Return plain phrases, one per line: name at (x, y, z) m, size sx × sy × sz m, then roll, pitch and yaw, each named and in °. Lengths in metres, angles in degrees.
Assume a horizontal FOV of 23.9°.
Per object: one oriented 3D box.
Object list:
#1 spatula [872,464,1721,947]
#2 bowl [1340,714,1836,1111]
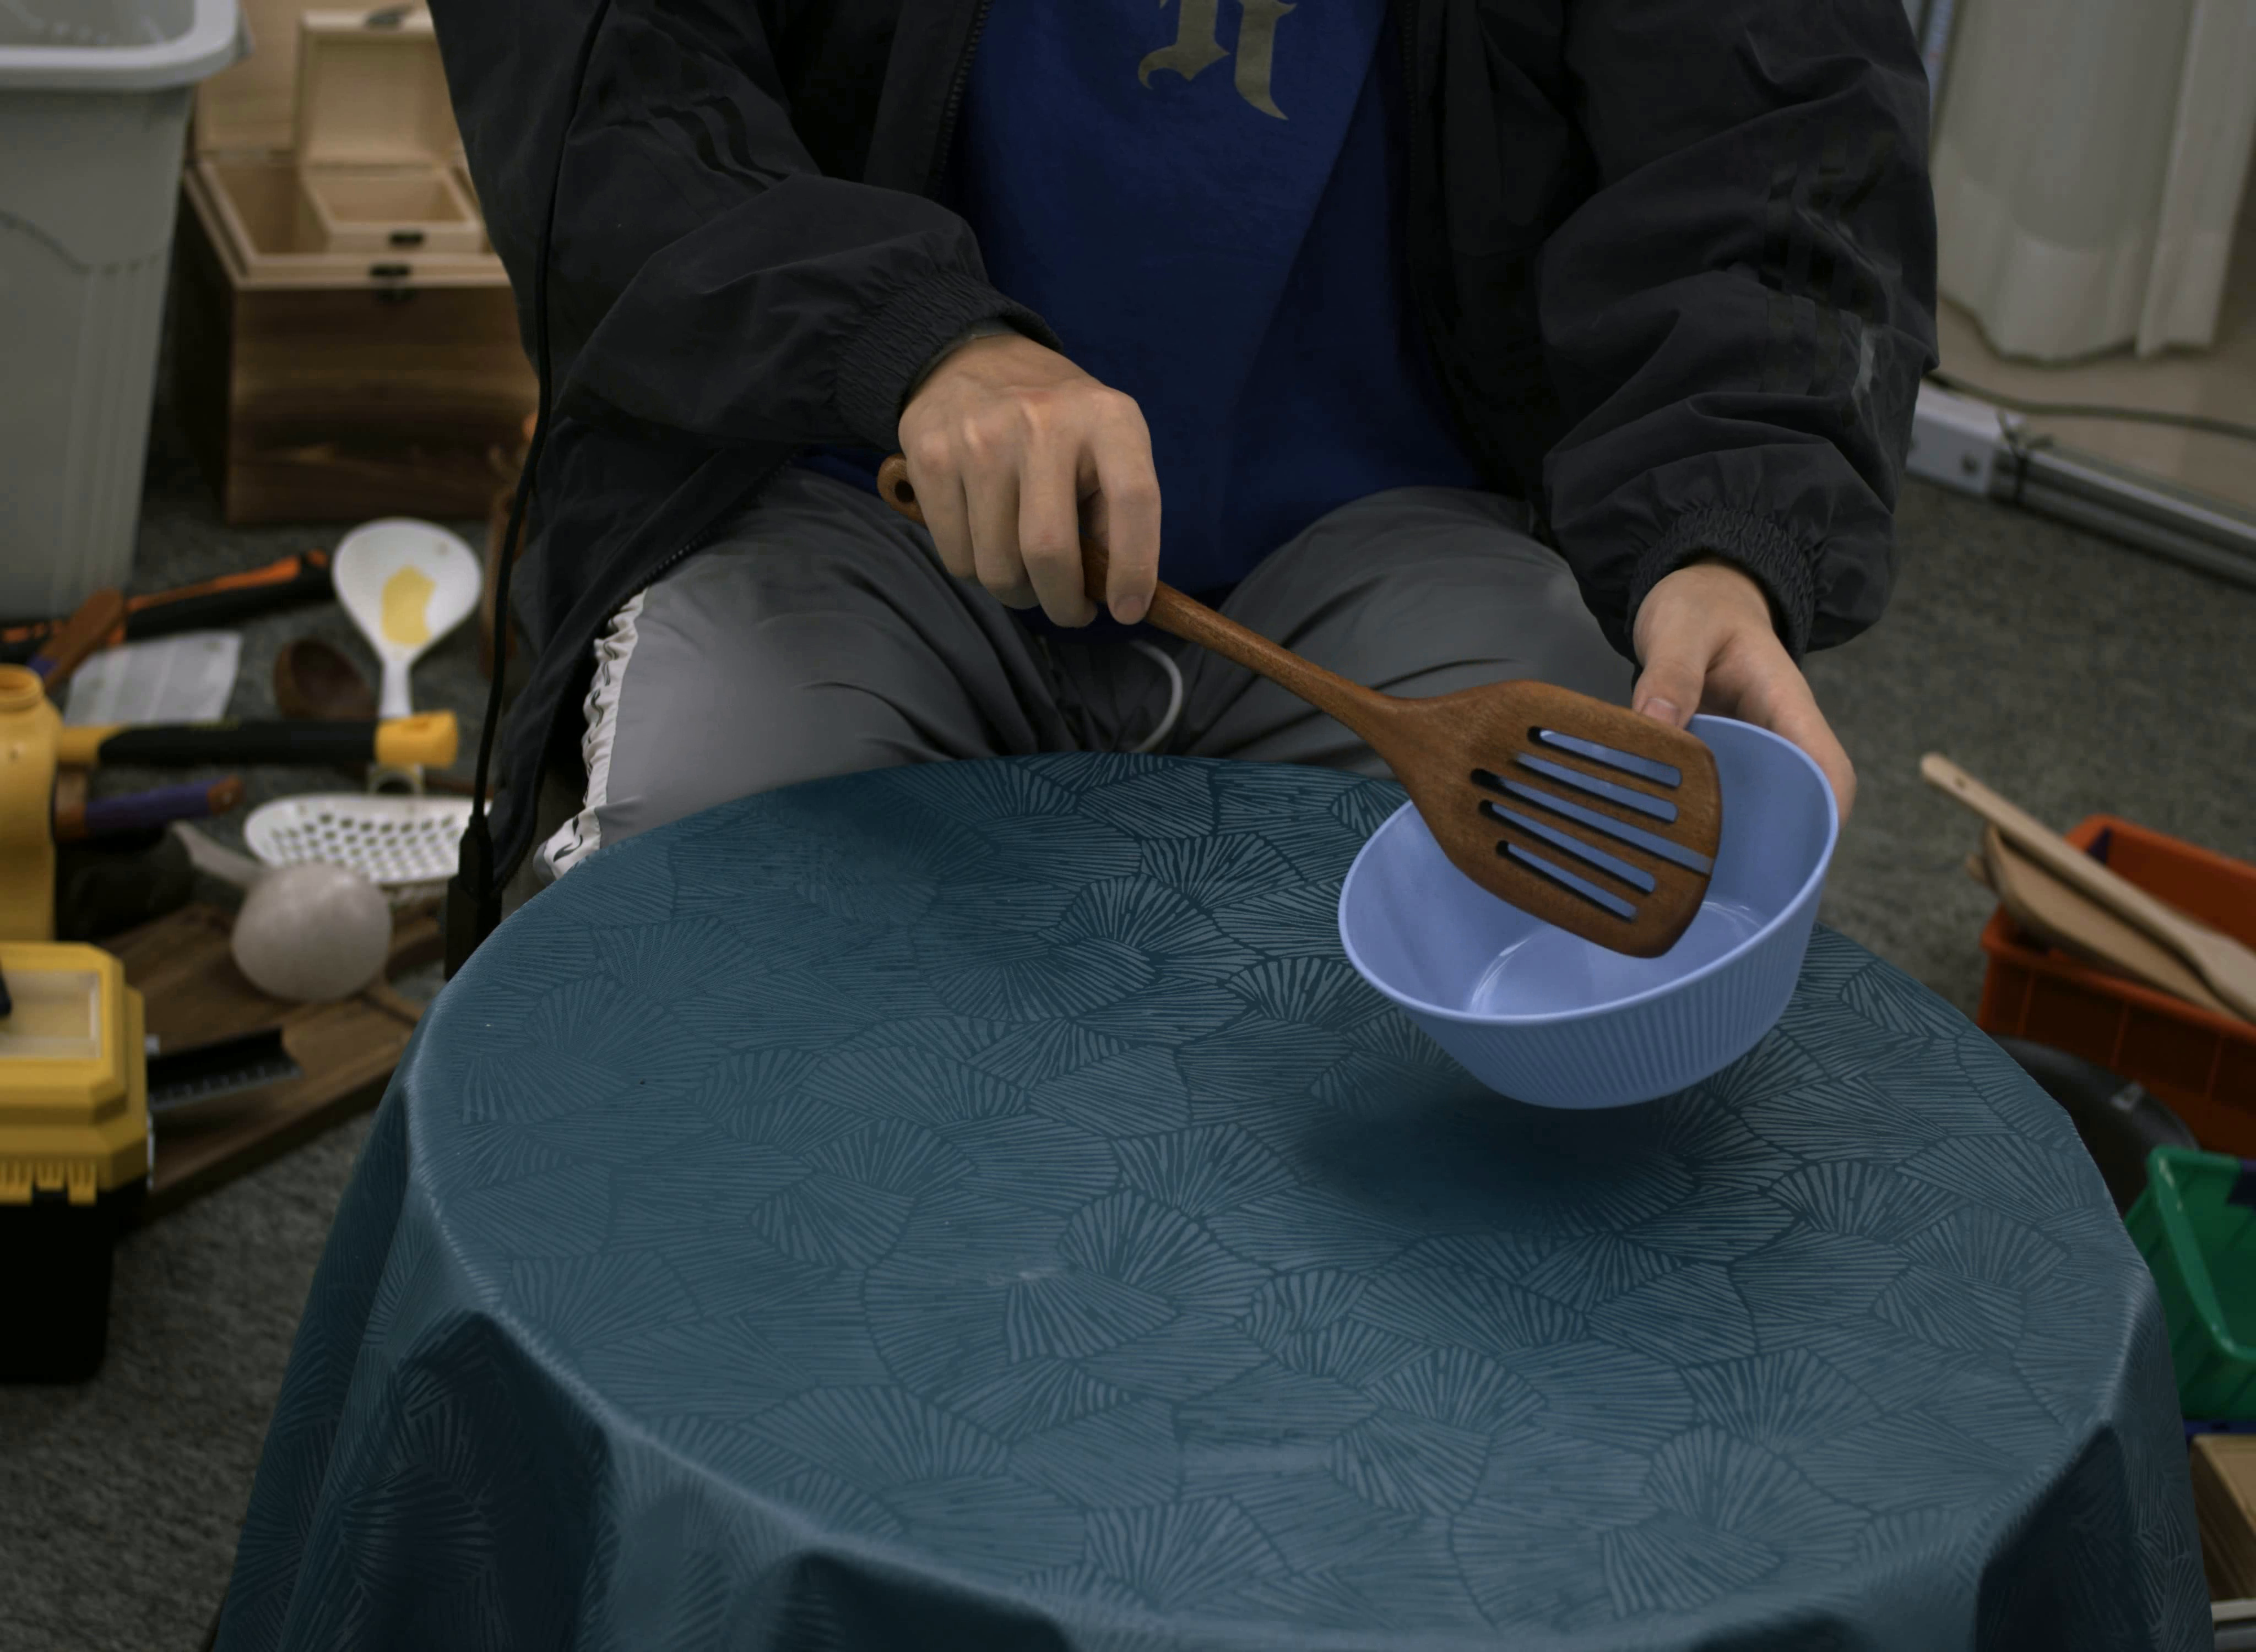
spatula at (0.048, -0.060, 1.903) m, size 0.389 × 0.085 × 0.024 m, roll 26°, pitch 22°, yaw 35°
bowl at (0.166, 0.038, 1.840) m, size 0.176 × 0.070 × 0.177 m, roll -15°, pitch 31°, yaw 9°
